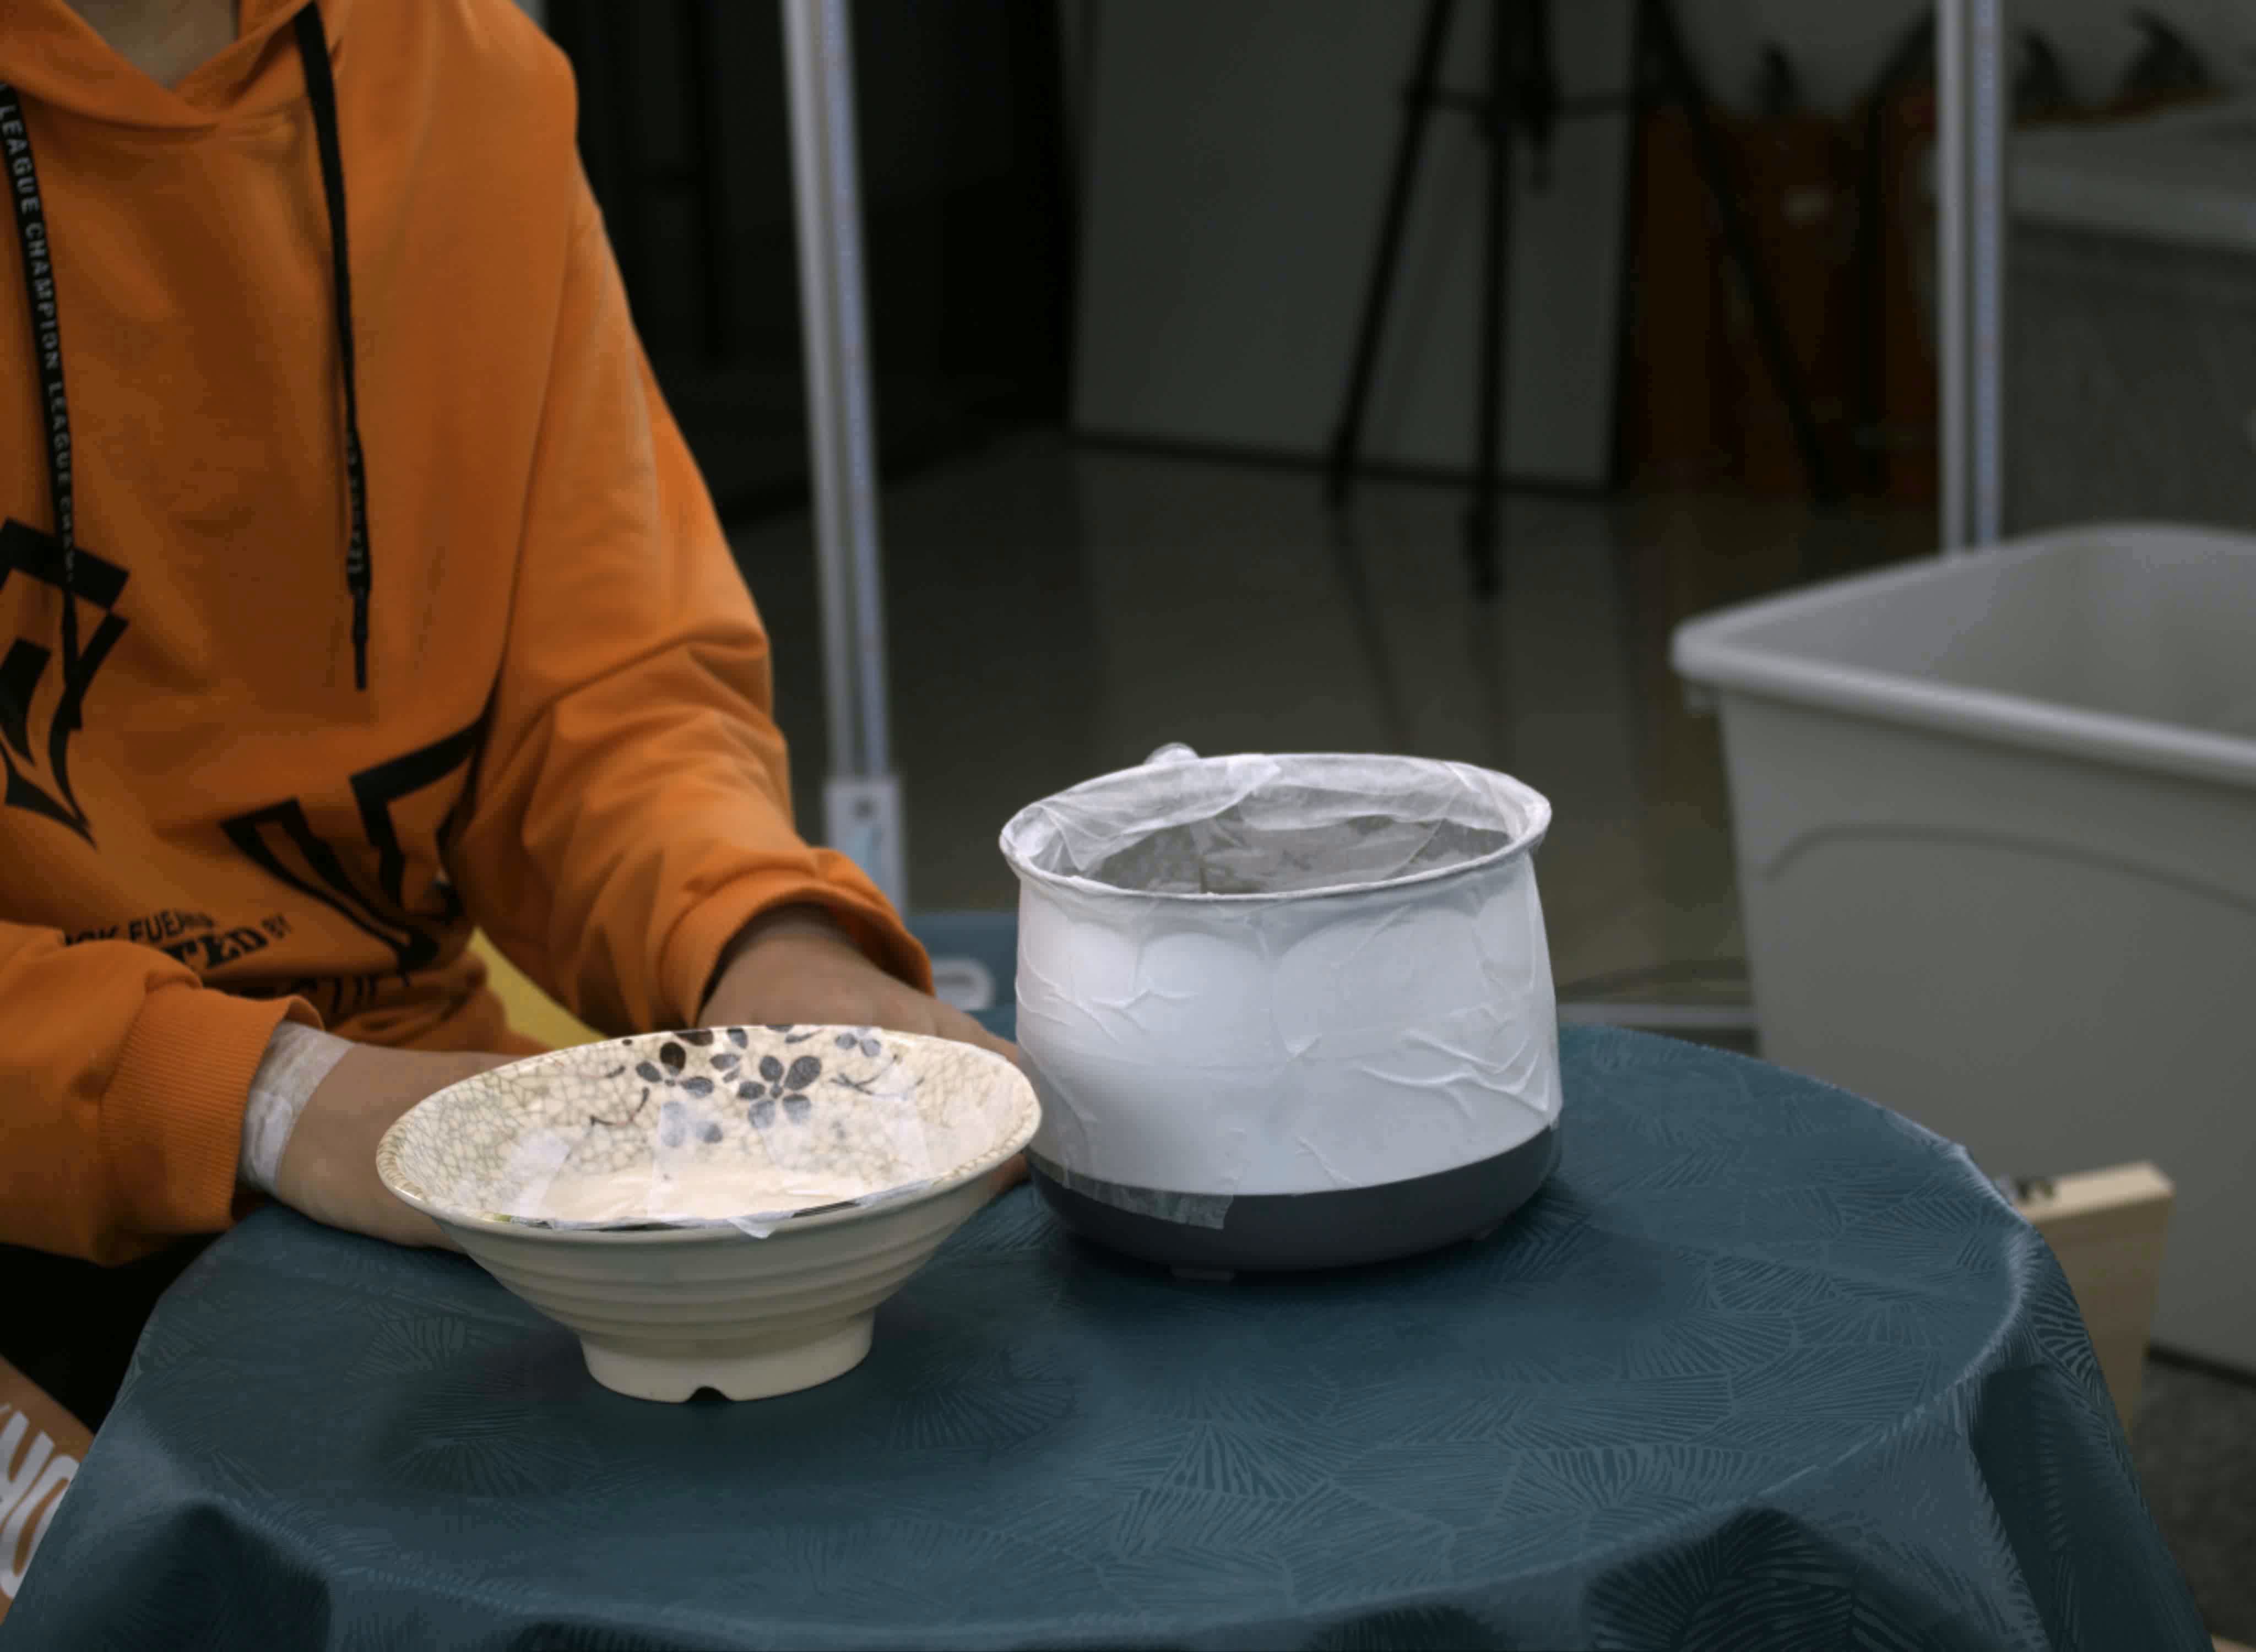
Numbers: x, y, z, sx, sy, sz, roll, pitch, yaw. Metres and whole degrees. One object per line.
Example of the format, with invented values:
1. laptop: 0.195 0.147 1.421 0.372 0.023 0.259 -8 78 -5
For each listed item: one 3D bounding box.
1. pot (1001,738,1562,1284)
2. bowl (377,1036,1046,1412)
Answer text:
1. pot: 0.041 0.053 1.747 0.175 0.138 0.236 -8 14 -18
2. bowl: -0.121 0.126 1.630 0.201 0.079 0.204 -6 12 0
